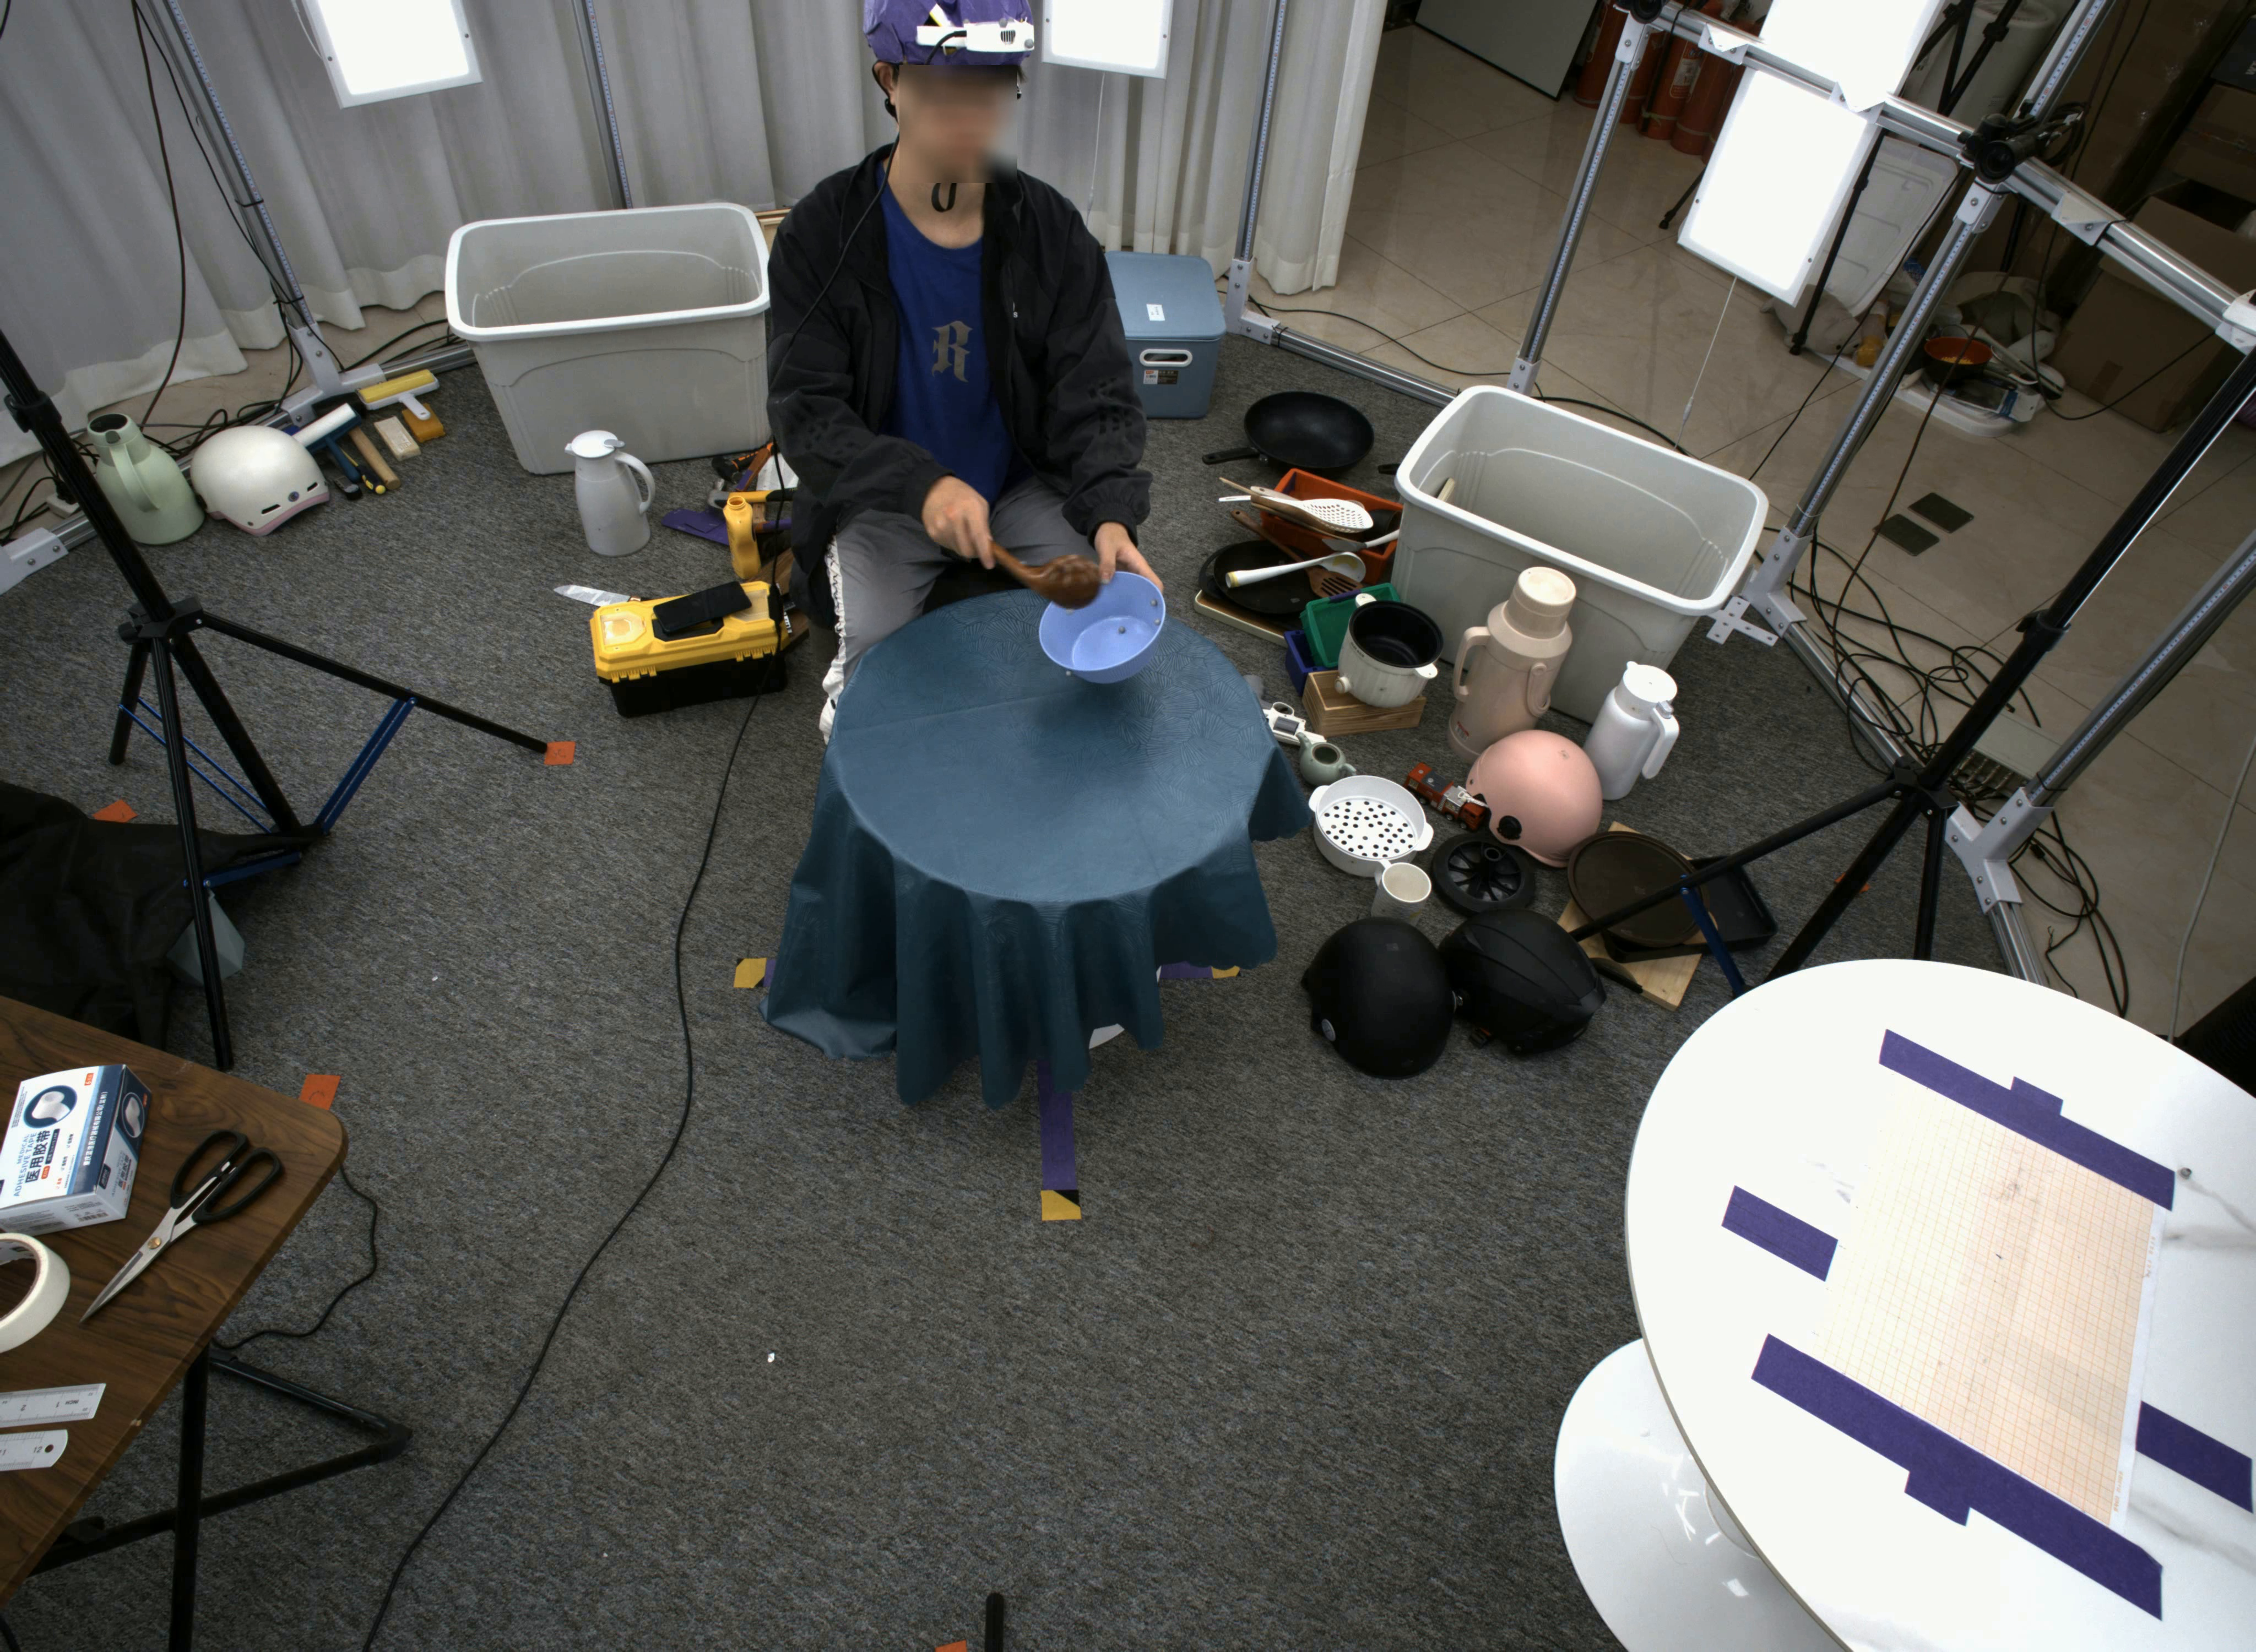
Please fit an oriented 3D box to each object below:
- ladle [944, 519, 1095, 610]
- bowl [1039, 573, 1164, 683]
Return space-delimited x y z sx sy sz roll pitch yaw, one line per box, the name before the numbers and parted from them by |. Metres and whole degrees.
ladle | -0.144 -0.365 1.715 0.077 0.080 0.279 -29 46 -22
bowl | -0.029 -0.261 1.758 0.176 0.068 0.180 -9 53 12
